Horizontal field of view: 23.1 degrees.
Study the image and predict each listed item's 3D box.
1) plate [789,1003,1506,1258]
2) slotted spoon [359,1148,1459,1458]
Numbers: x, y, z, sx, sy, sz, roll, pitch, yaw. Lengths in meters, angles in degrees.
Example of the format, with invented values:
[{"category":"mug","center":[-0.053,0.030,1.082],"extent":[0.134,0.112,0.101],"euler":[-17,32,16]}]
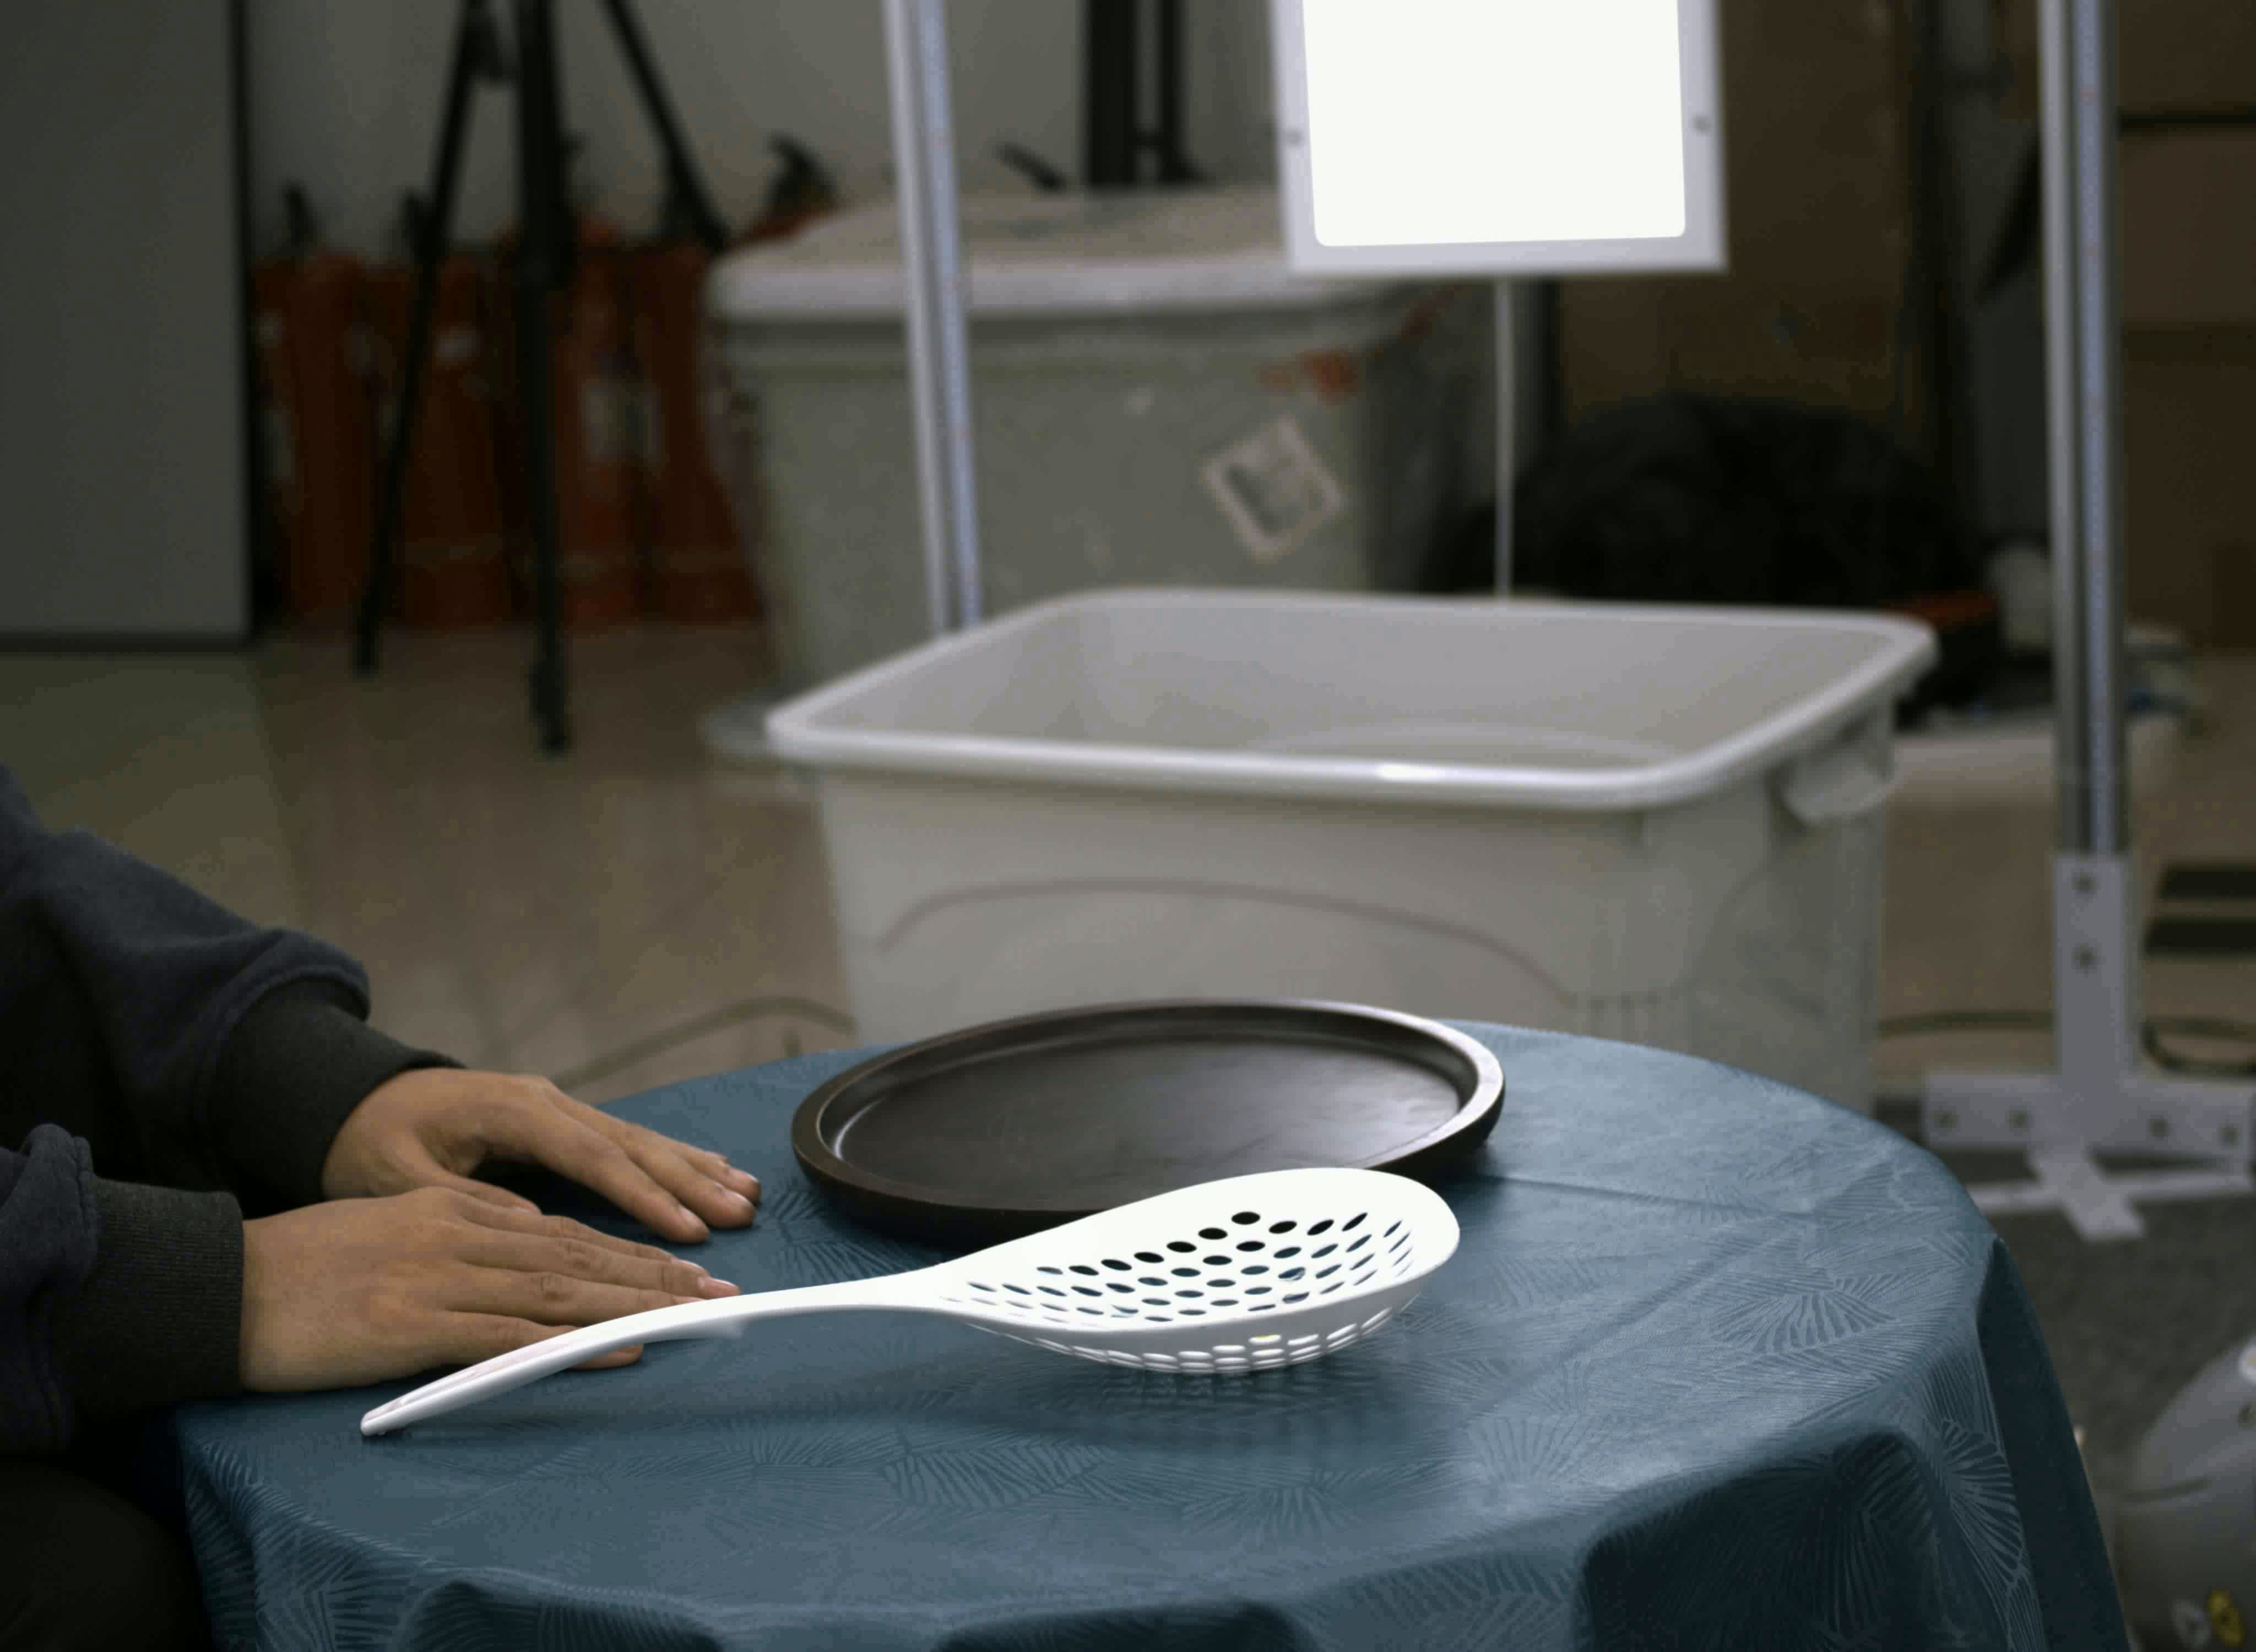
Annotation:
[{"category":"plate","center":[0.007,0.105,1.933],"extent":[0.254,0.029,0.254],"euler":[-5,15,0]},{"category":"slotted spoon","center":[-0.068,0.155,1.718],"extent":[0.347,0.050,0.136],"euler":[-5,16,0]}]
